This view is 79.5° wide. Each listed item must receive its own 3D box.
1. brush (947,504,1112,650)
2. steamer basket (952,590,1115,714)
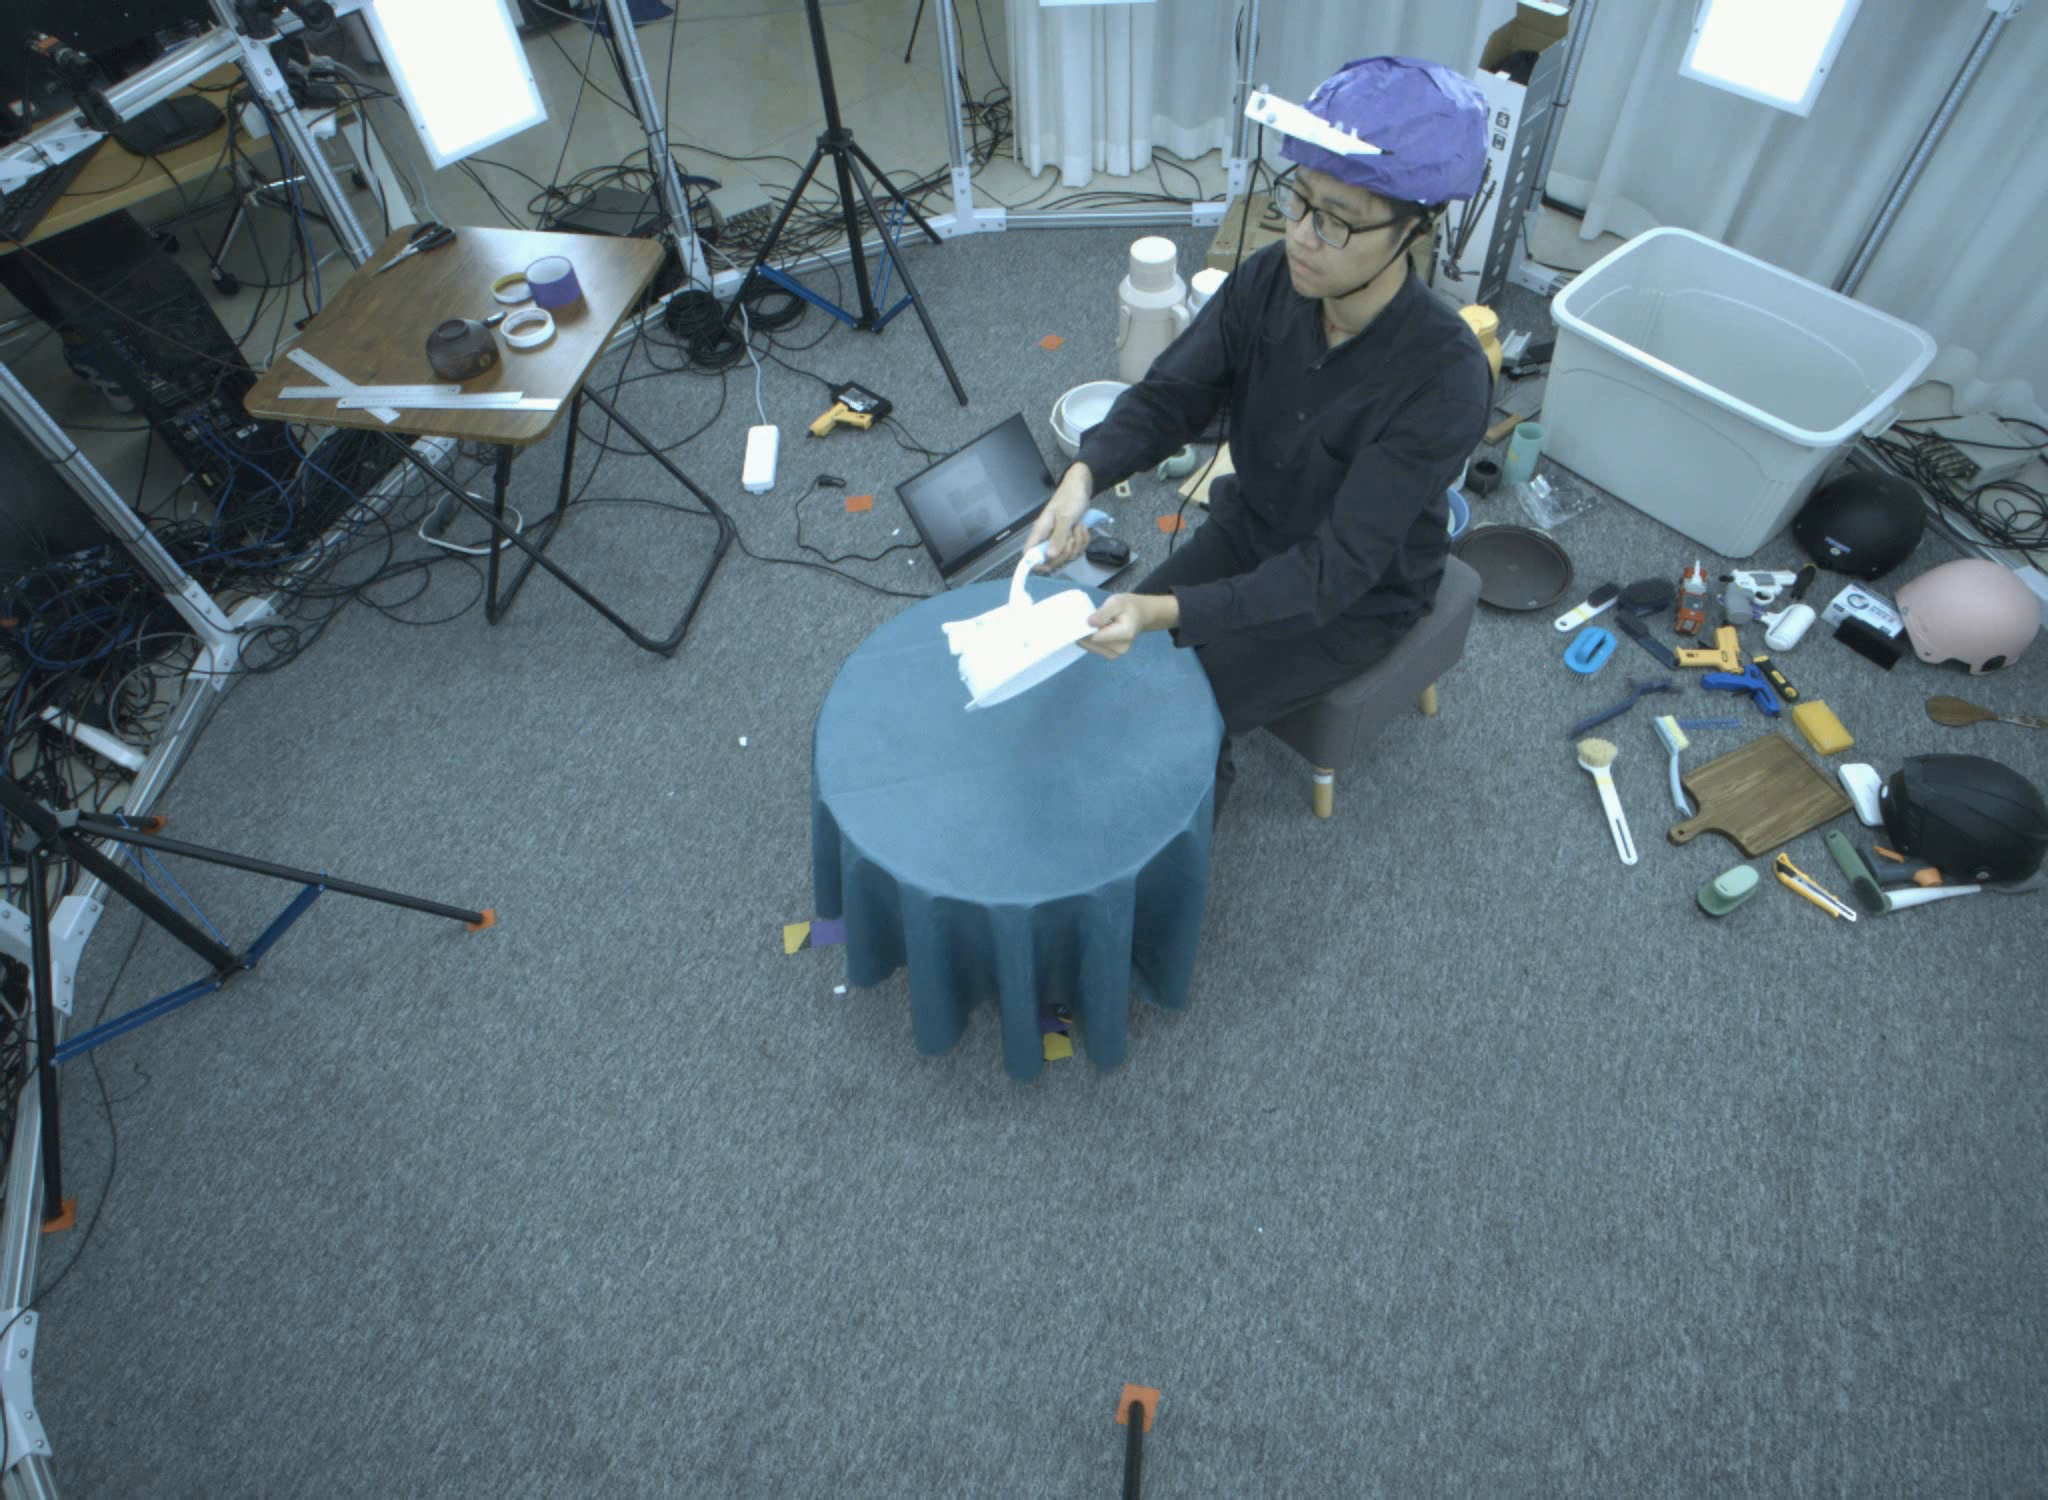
[{"bbox_3d":[0.030,-0.221,1.649,0.081,0.086,0.328,27,54,34],"label":"brush"},{"bbox_3d":[0.004,-0.131,1.585,0.230,0.202,0.069,-31,86,1],"label":"steamer basket"}]
